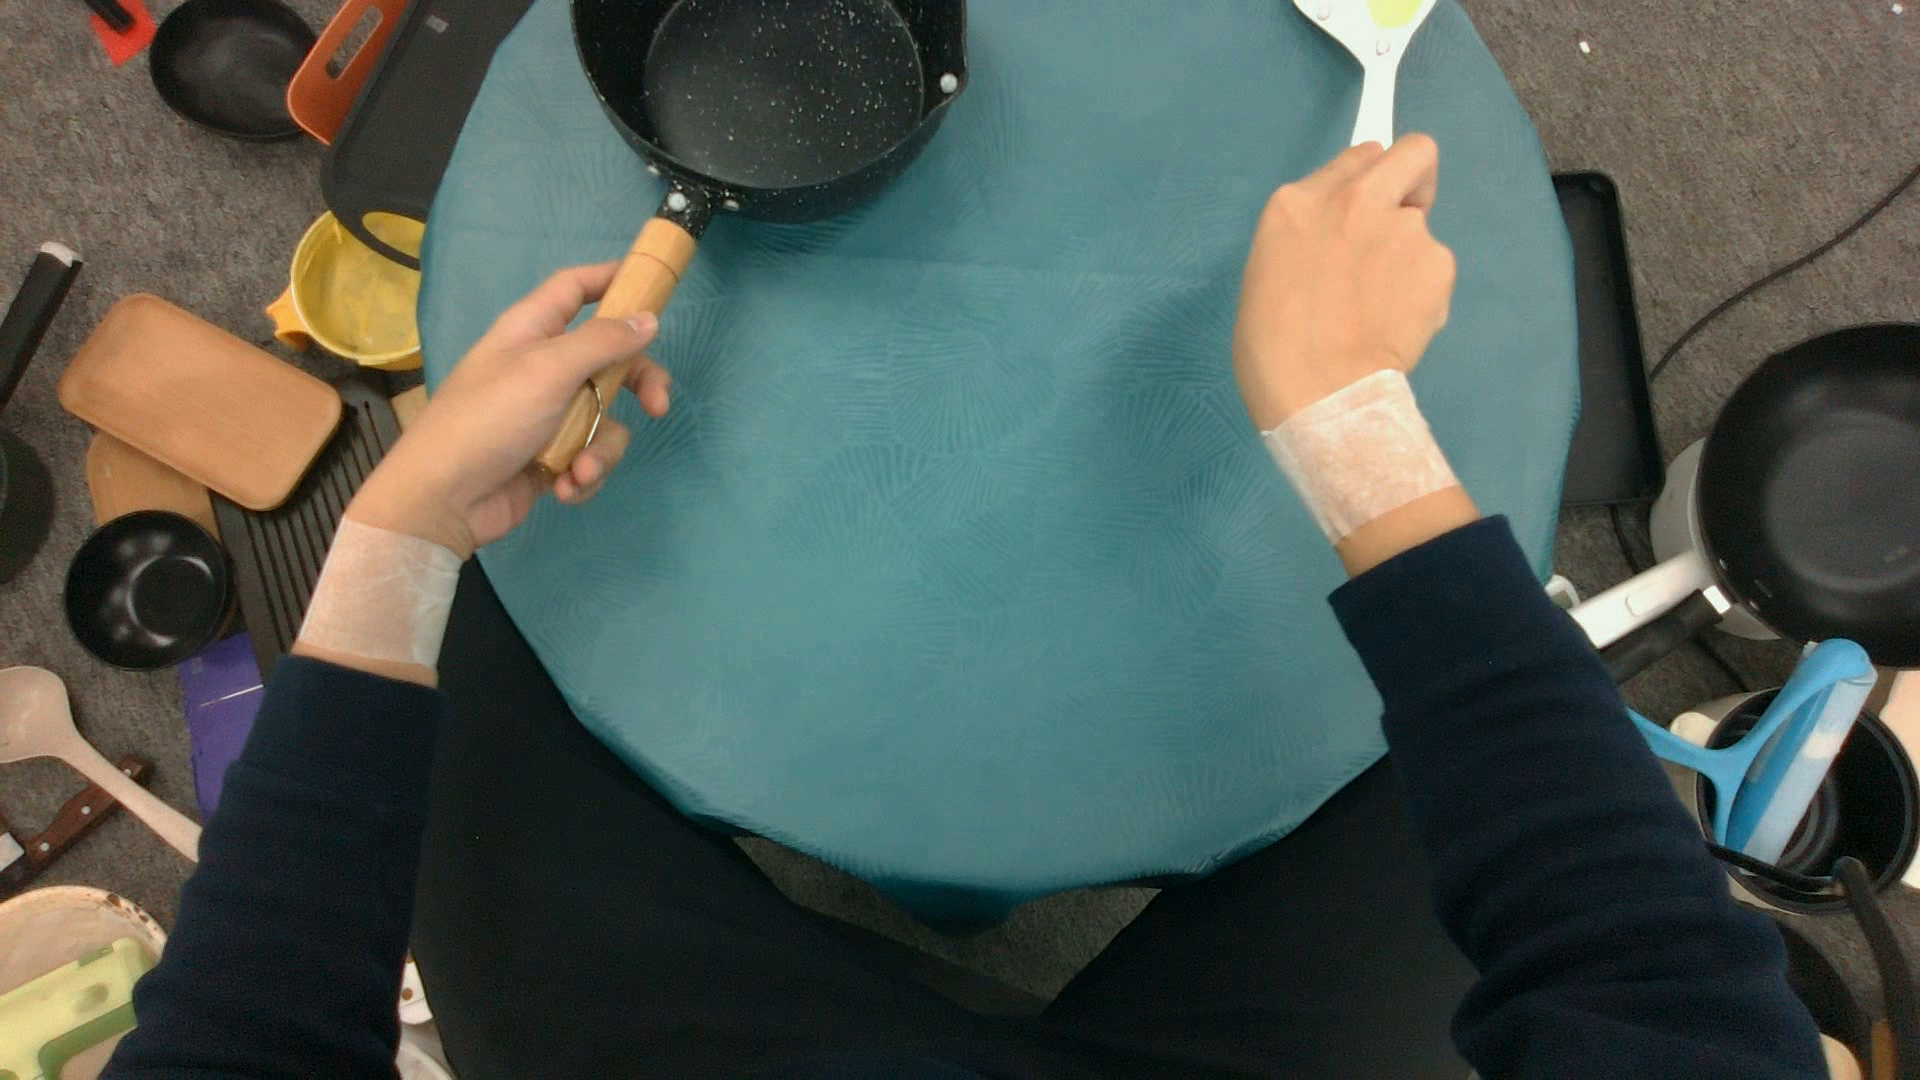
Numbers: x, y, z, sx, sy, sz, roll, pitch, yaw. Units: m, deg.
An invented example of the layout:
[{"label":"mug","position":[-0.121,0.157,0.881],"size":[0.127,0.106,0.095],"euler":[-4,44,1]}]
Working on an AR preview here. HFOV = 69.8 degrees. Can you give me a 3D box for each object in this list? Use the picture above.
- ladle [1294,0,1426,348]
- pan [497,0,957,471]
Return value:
[{"label":"ladle","position":[0.188,-0.218,0.655],"size":[0.090,0.070,0.294],"euler":[0,51,24]},{"label":"pan","position":[-0.125,-0.179,0.662],"size":[0.207,0.108,0.343],"euler":[21,79,0]}]
